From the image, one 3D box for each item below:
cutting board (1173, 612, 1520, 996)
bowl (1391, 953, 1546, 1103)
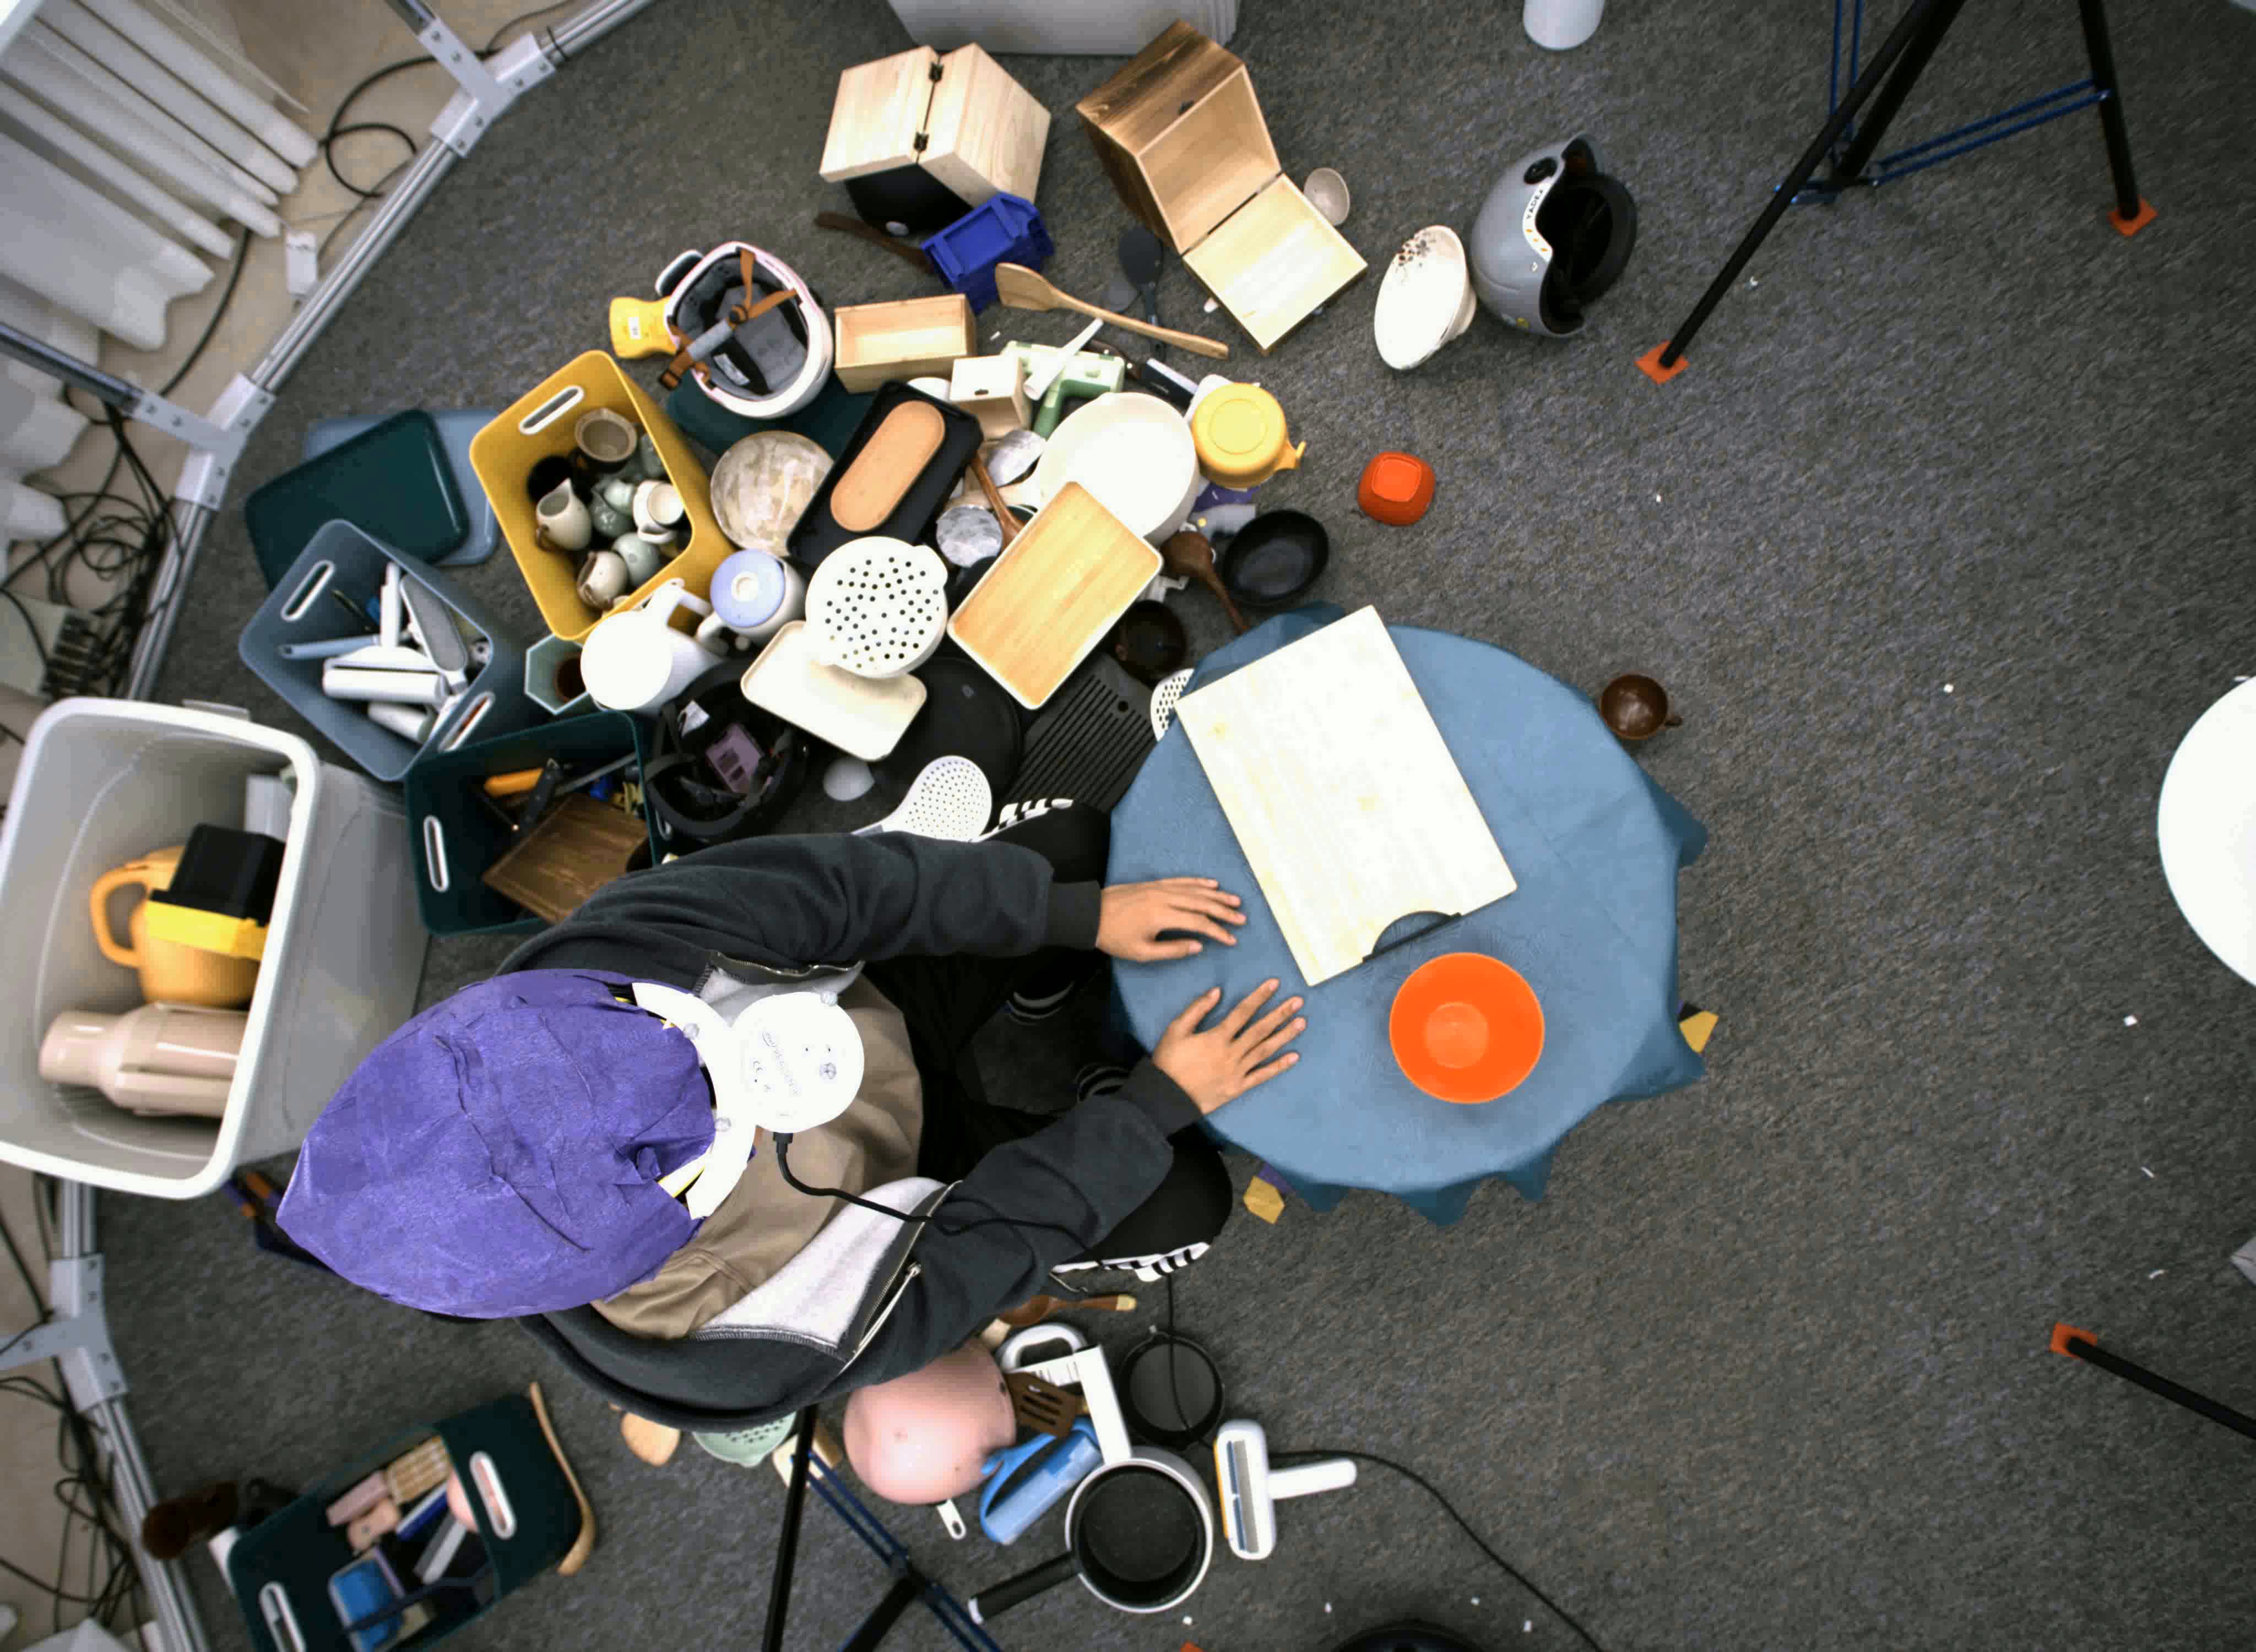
[{"bbox_3d":[0.228,-0.029,1.465,0.252,0.023,0.346,-27,82,8],"label":"cutting board"},{"bbox_3d":[0.338,0.200,1.388,0.148,0.105,0.147,-1,86,9],"label":"bowl"}]
